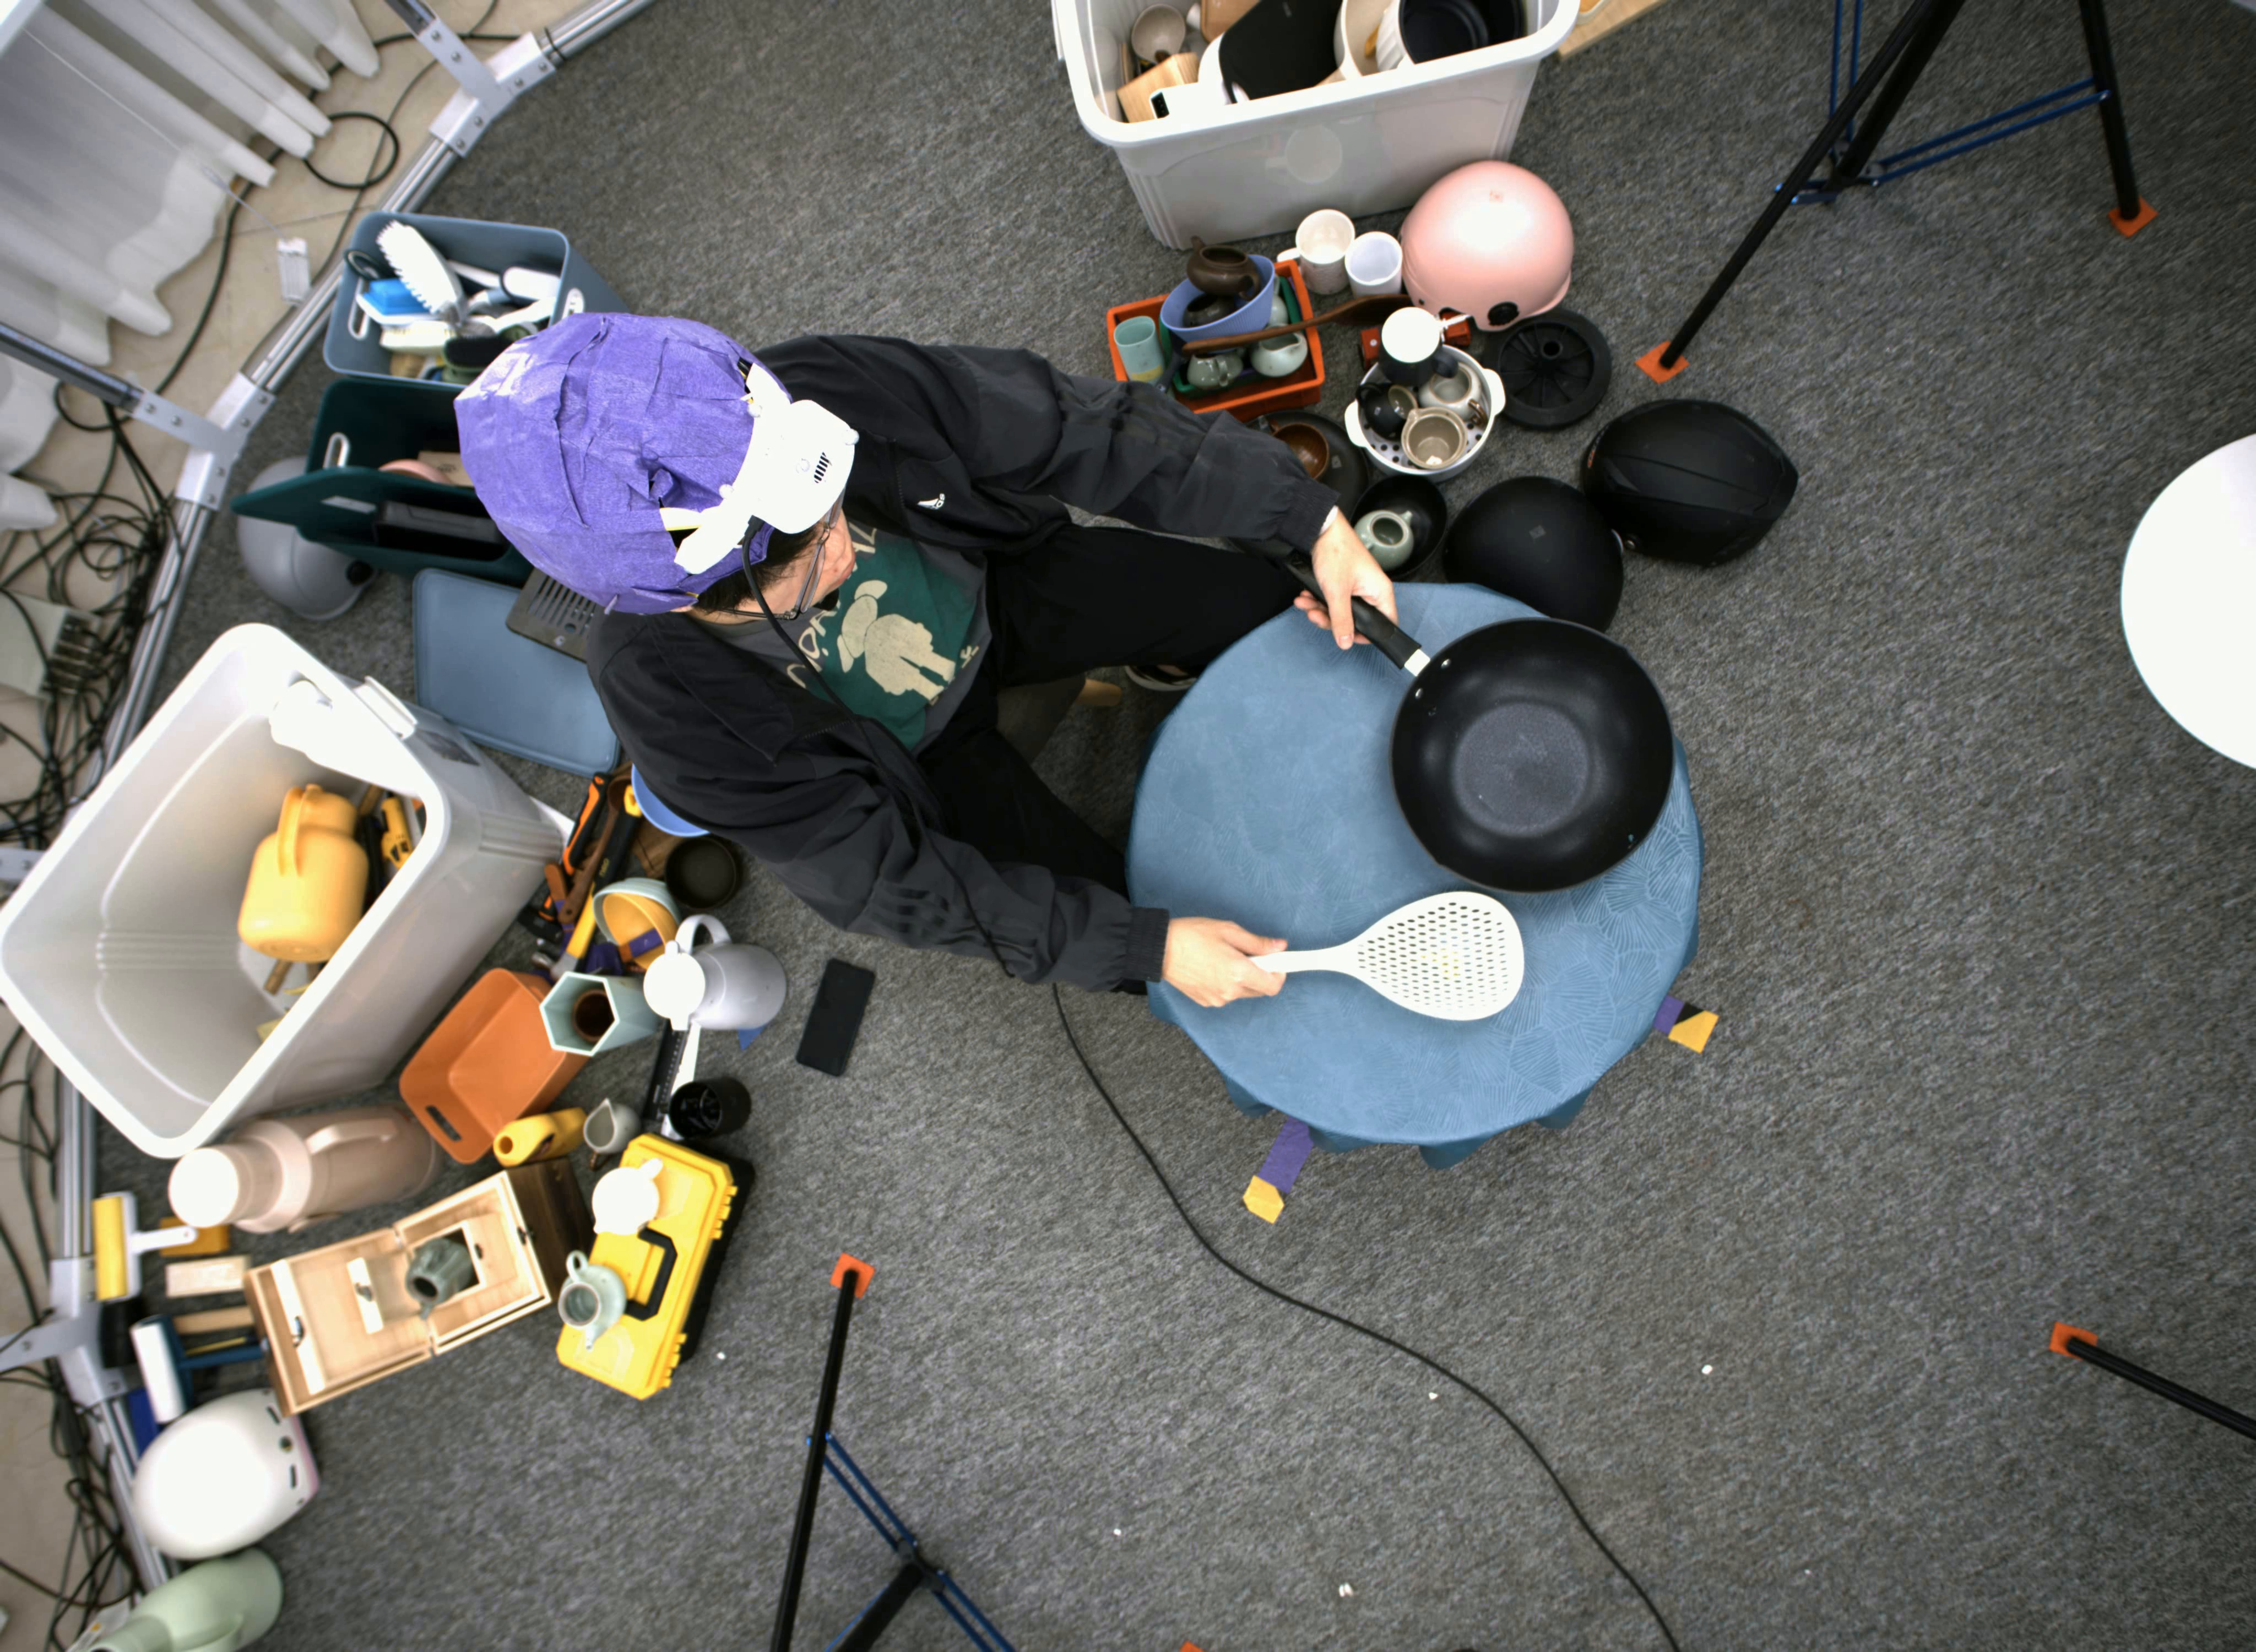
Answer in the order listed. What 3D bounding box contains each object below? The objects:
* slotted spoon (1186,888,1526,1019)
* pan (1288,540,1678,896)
[{"bbox_3d":[0.232,0.139,1.431,0.349,0.051,0.134,-3,73,6],"label":"slotted spoon"},{"bbox_3d":[0.340,-0.128,1.414,0.461,0.087,0.289,42,94,11],"label":"pan"}]
